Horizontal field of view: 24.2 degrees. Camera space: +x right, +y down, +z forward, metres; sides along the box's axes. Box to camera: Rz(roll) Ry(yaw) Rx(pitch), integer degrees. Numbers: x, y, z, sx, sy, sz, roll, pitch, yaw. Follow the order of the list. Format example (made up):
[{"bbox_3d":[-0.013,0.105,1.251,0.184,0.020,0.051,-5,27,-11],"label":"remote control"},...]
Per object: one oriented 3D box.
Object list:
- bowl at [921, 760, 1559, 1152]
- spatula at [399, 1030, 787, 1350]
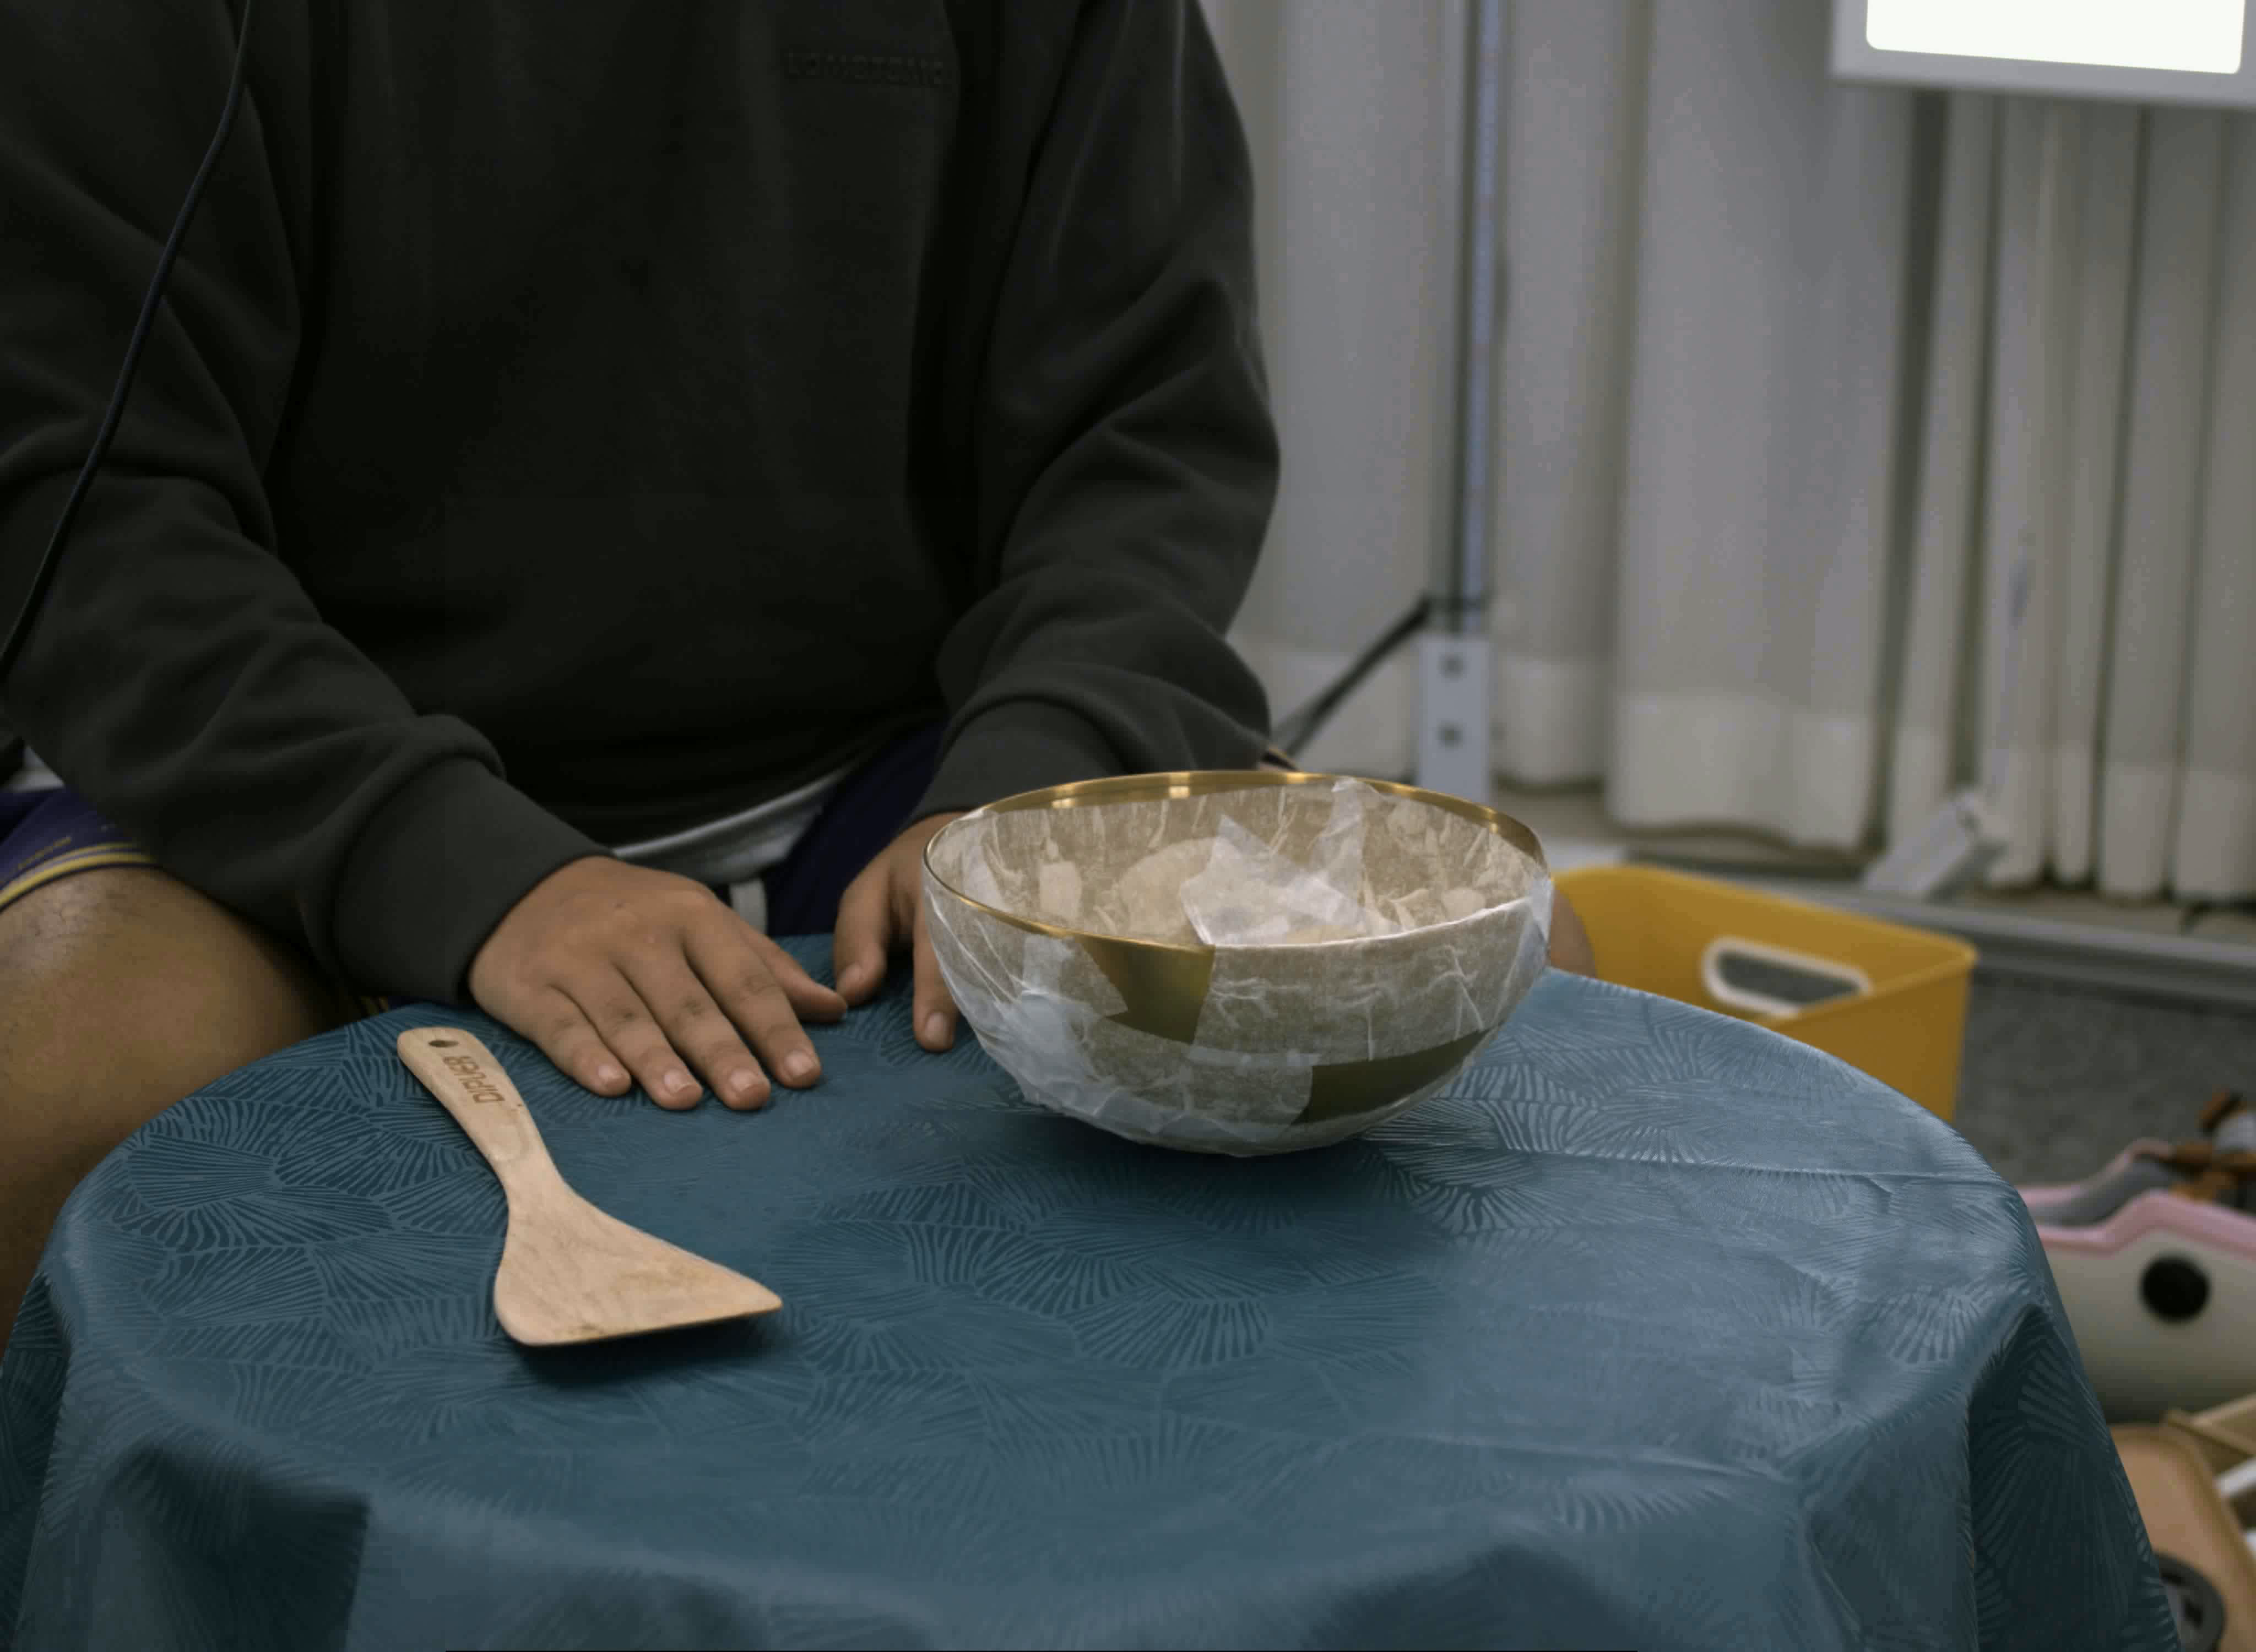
[{"bbox_3d":[0.033,0.048,1.676,0.214,0.095,0.213,1,17,0],"label":"bowl"},{"bbox_3d":[-0.179,0.106,1.607,0.080,0.016,0.324,-5,16,-18],"label":"spatula"}]
